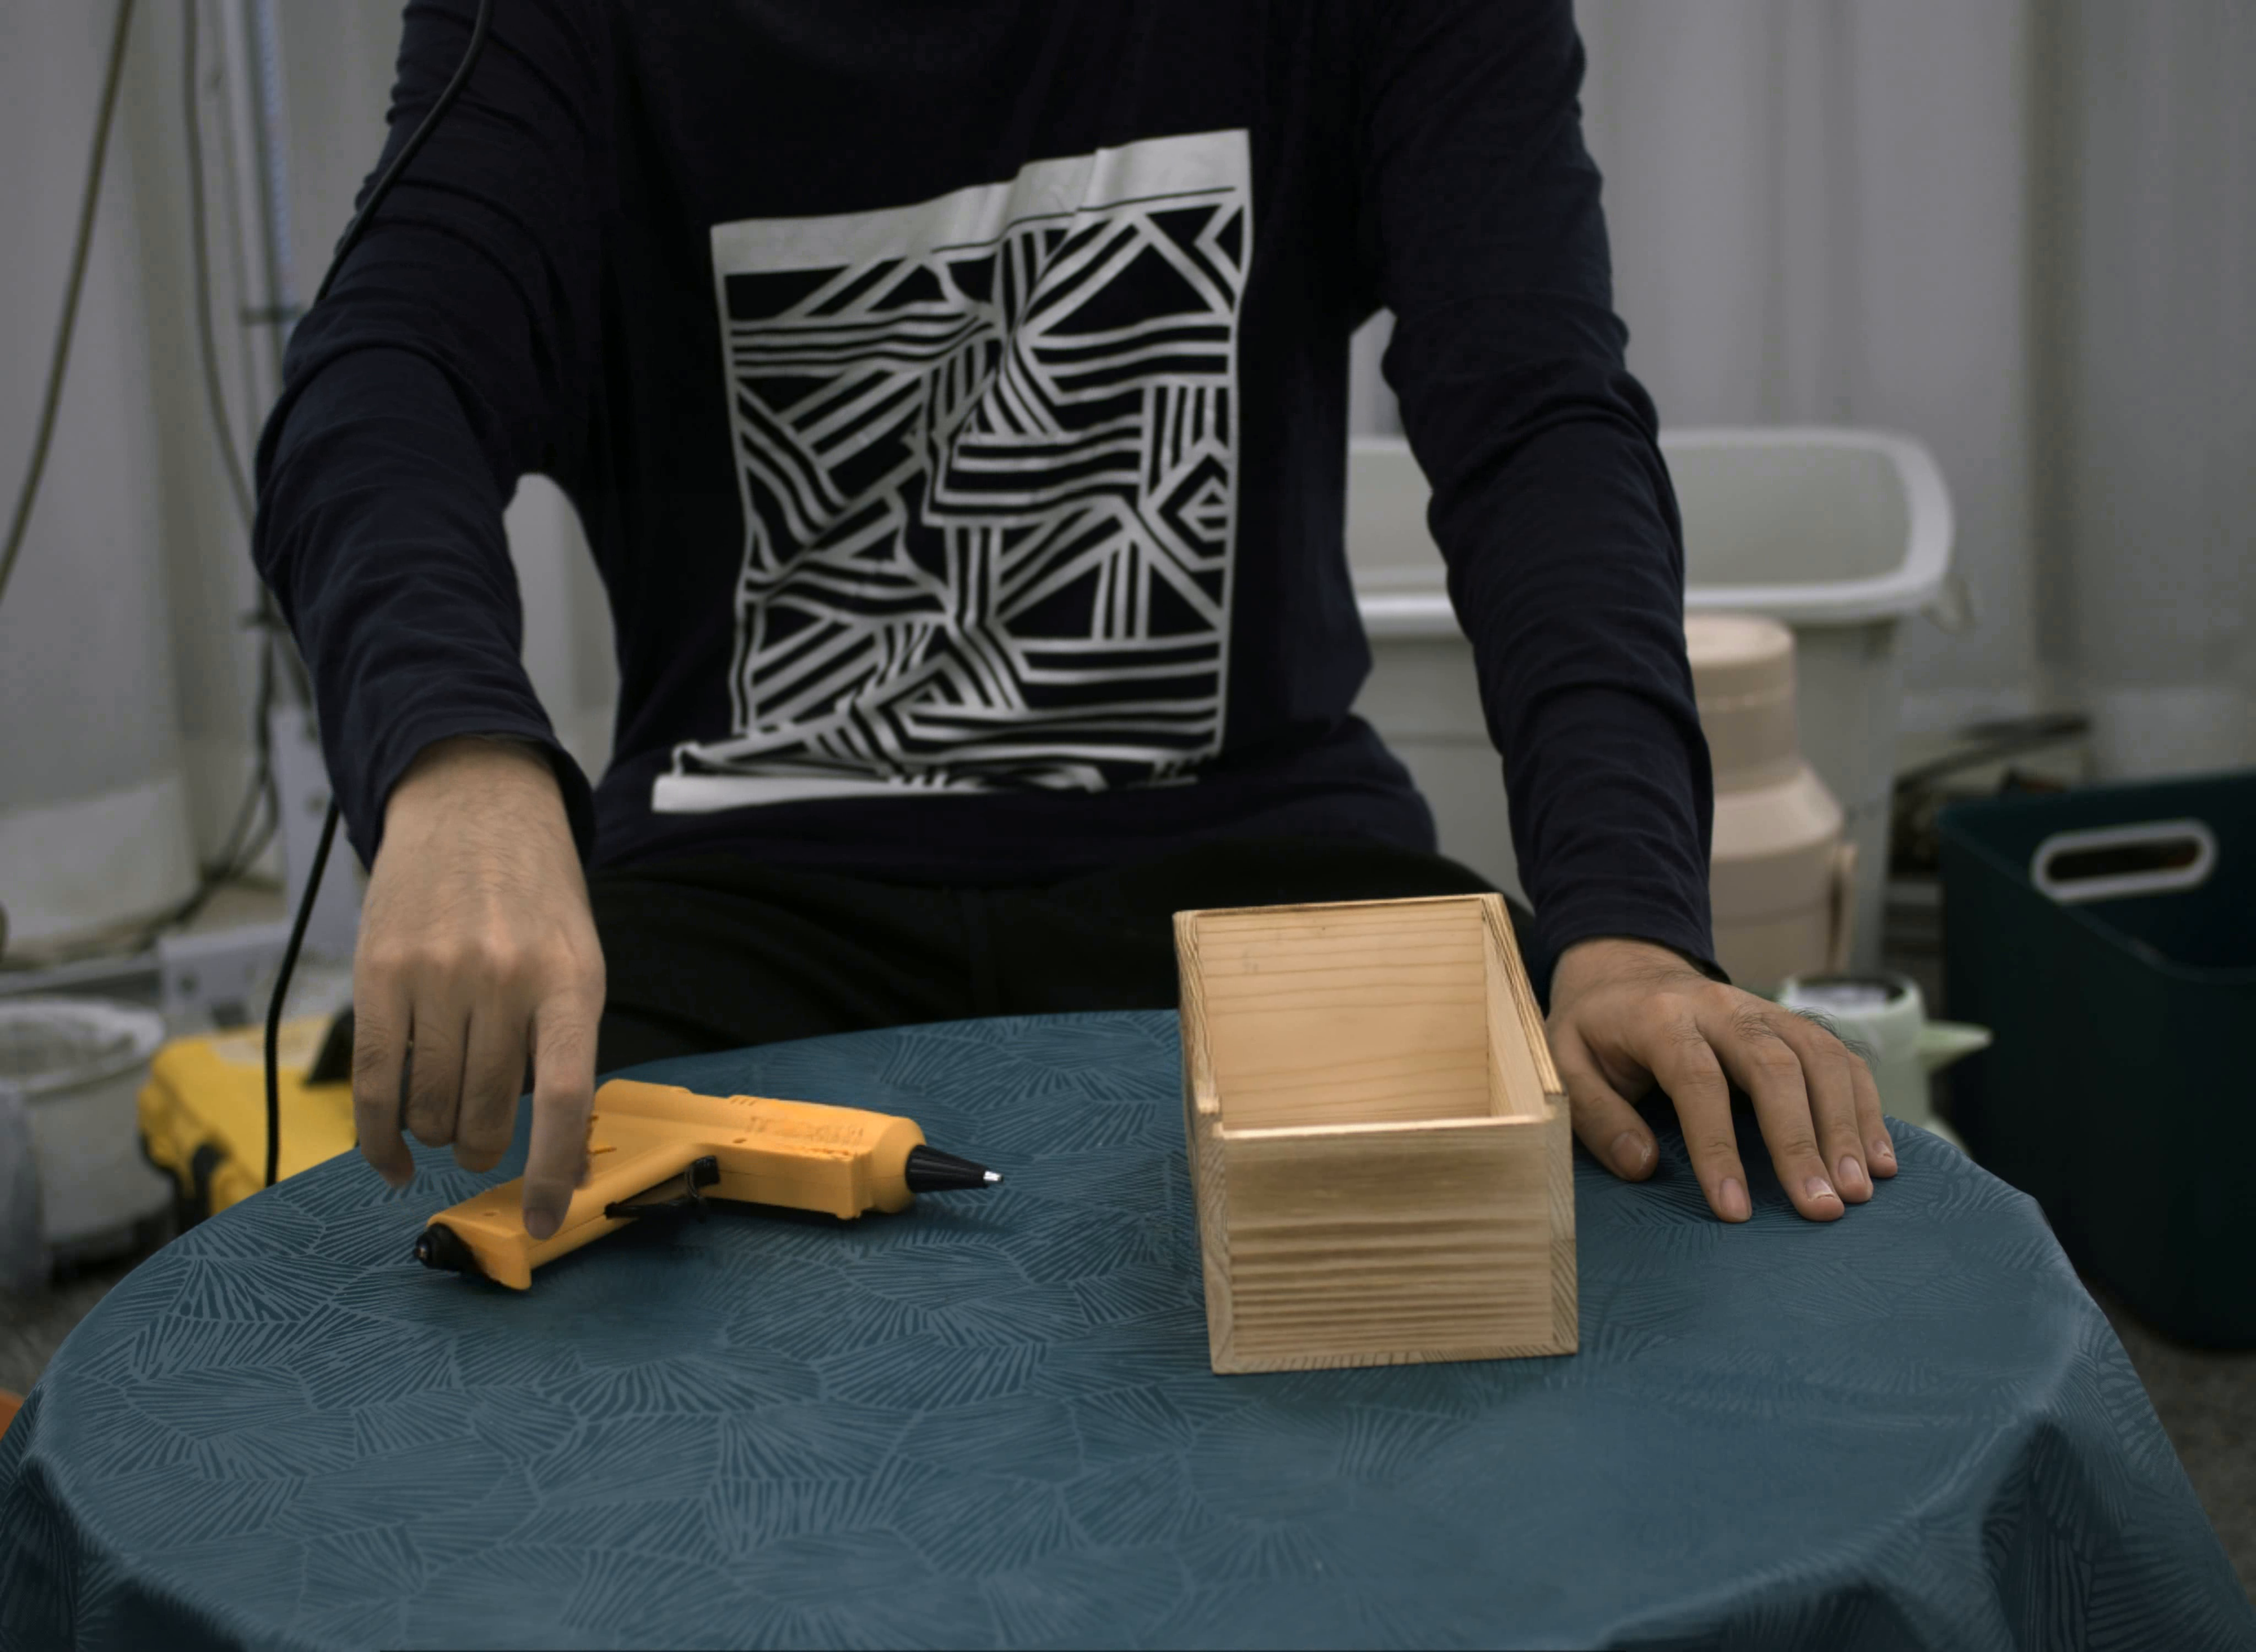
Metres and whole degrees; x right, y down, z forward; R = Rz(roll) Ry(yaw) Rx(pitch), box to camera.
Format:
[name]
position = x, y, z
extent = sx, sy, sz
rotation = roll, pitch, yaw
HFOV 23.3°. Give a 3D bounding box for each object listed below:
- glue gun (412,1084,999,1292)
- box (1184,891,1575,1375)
[glue gun]
position = -0.124, 0.116, 1.686
extent = 0.151, 0.031, 0.133
rotation = 3, 18, 24
[box]
position = 0.073, 0.089, 1.646
extent = 0.107, 0.080, 0.213
rotation = -3, 15, 0
